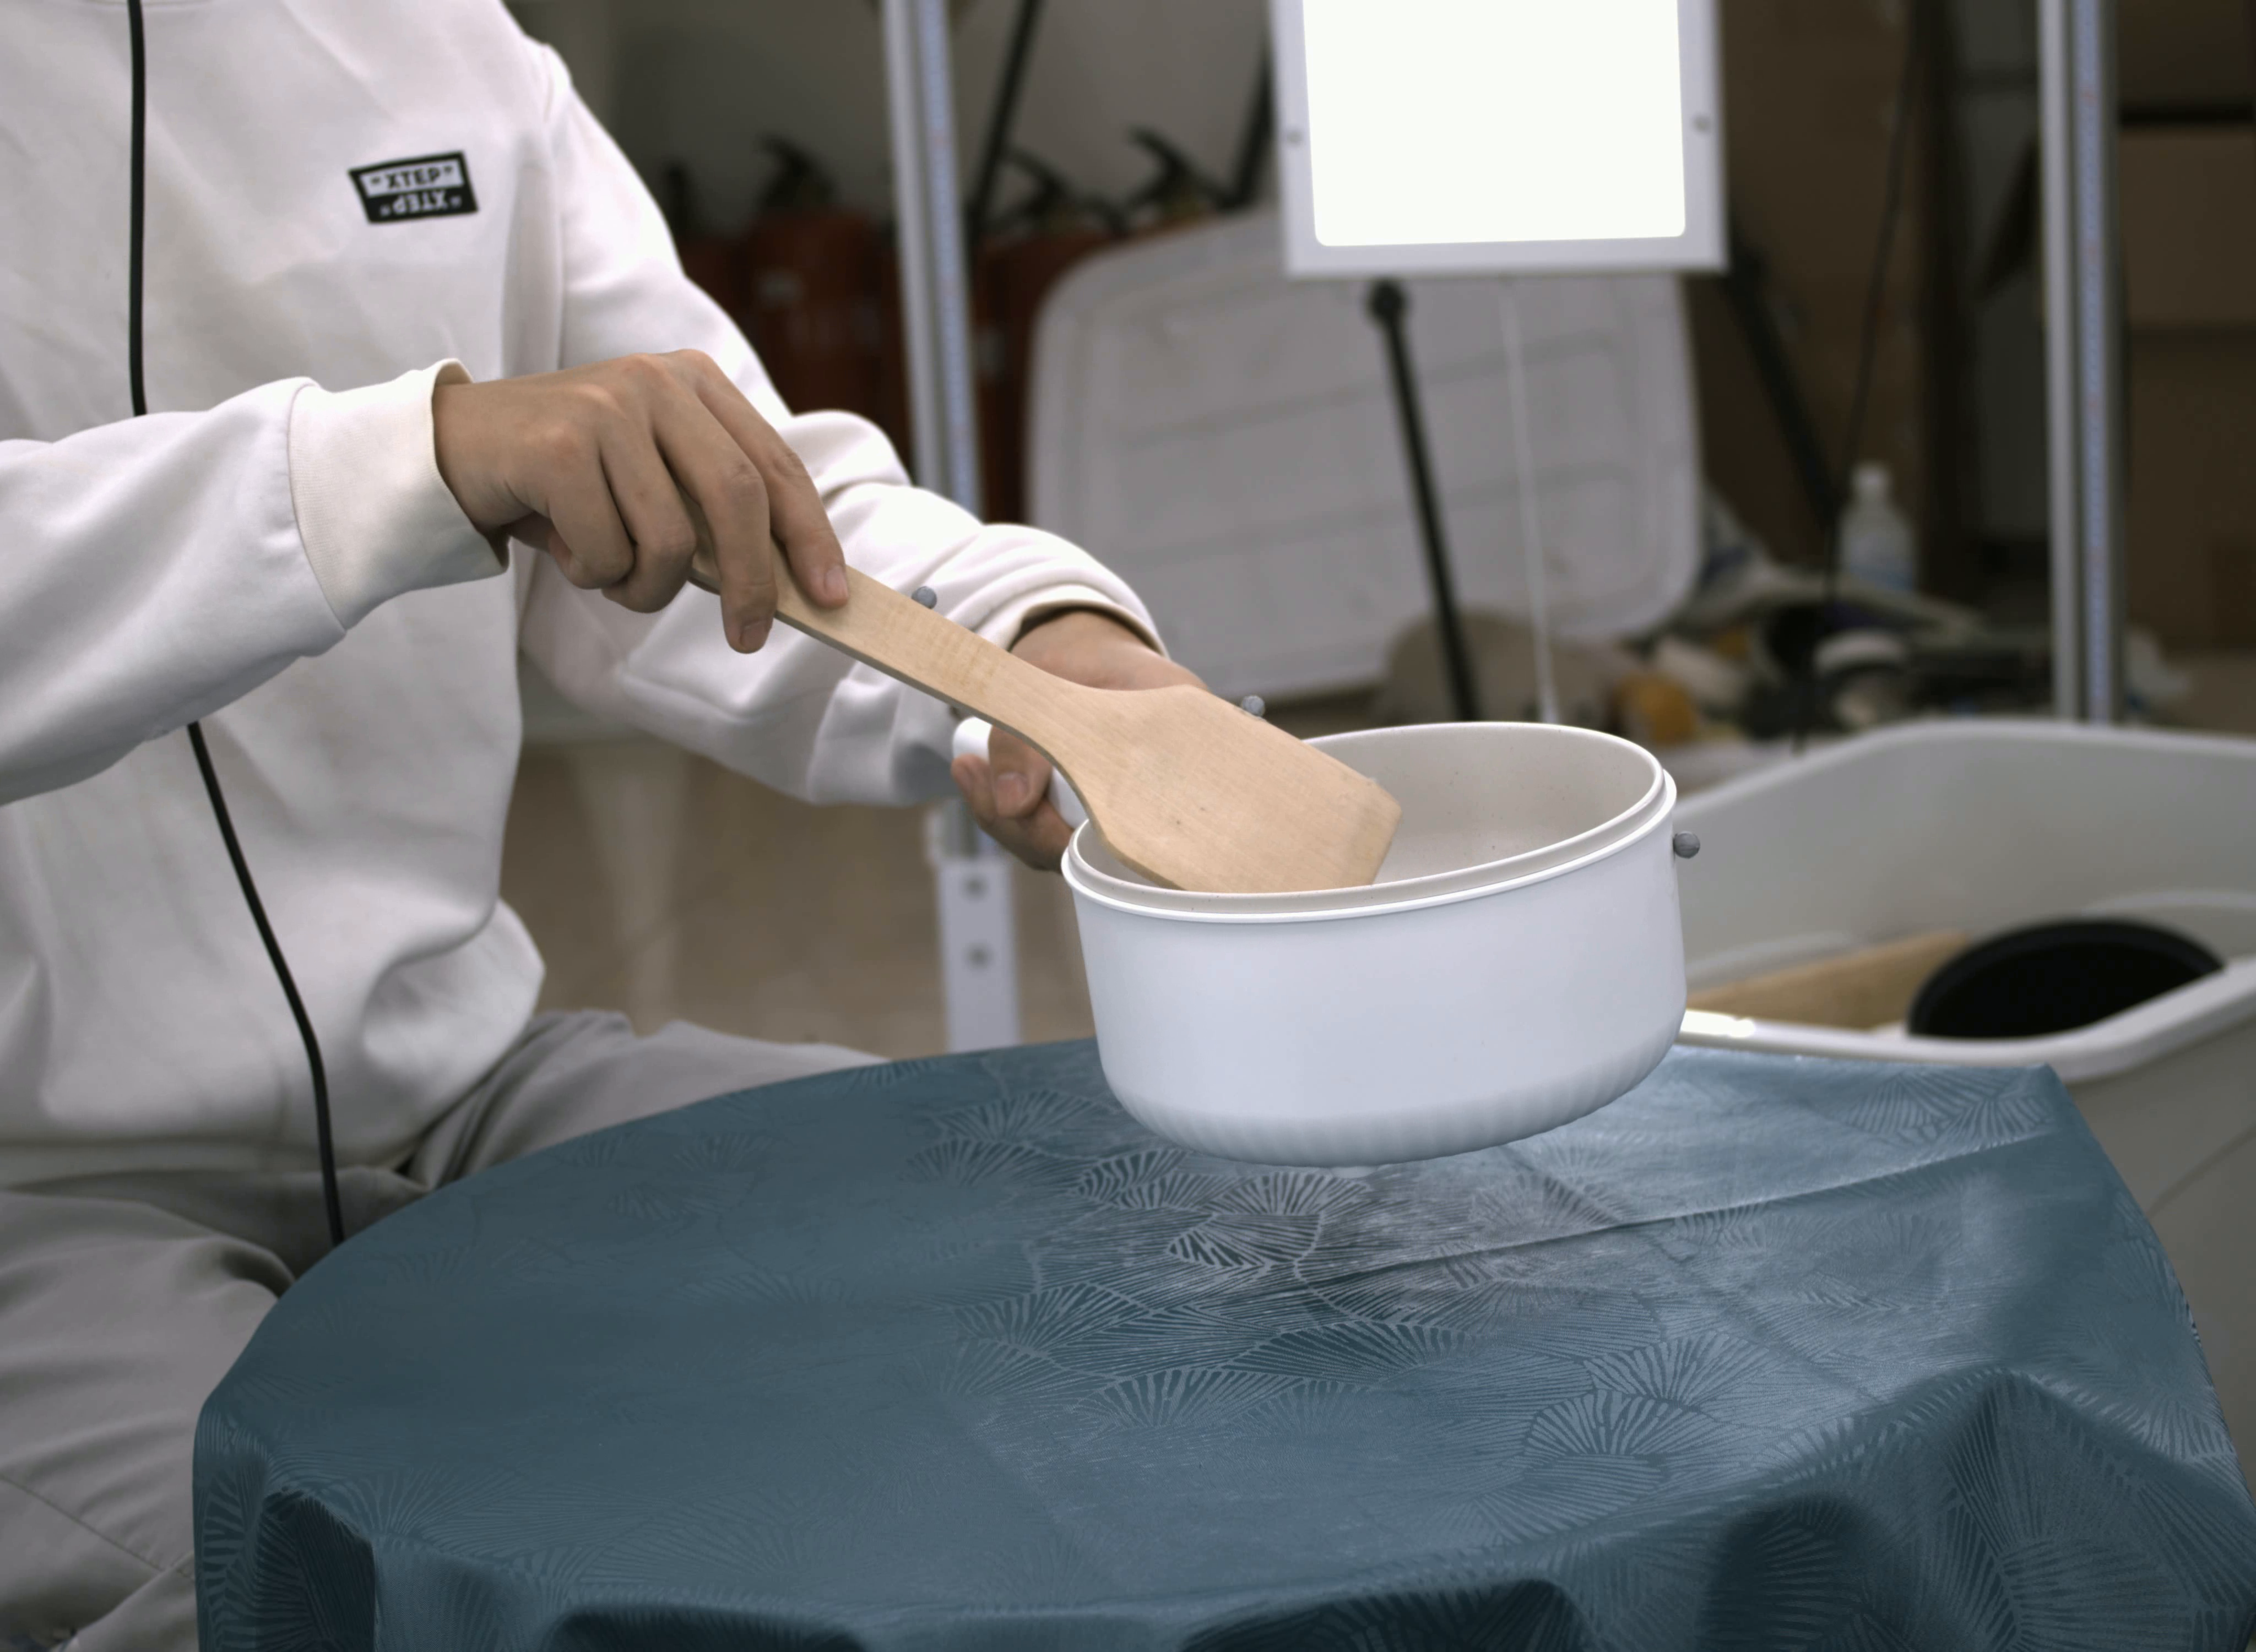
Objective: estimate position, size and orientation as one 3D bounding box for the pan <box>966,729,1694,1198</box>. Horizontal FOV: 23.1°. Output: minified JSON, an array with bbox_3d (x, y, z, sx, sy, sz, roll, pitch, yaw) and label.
[{"bbox_3d":[0.048,0.037,1.865,0.197,0.102,0.361,-20,16,-25],"label":"pan"}]
